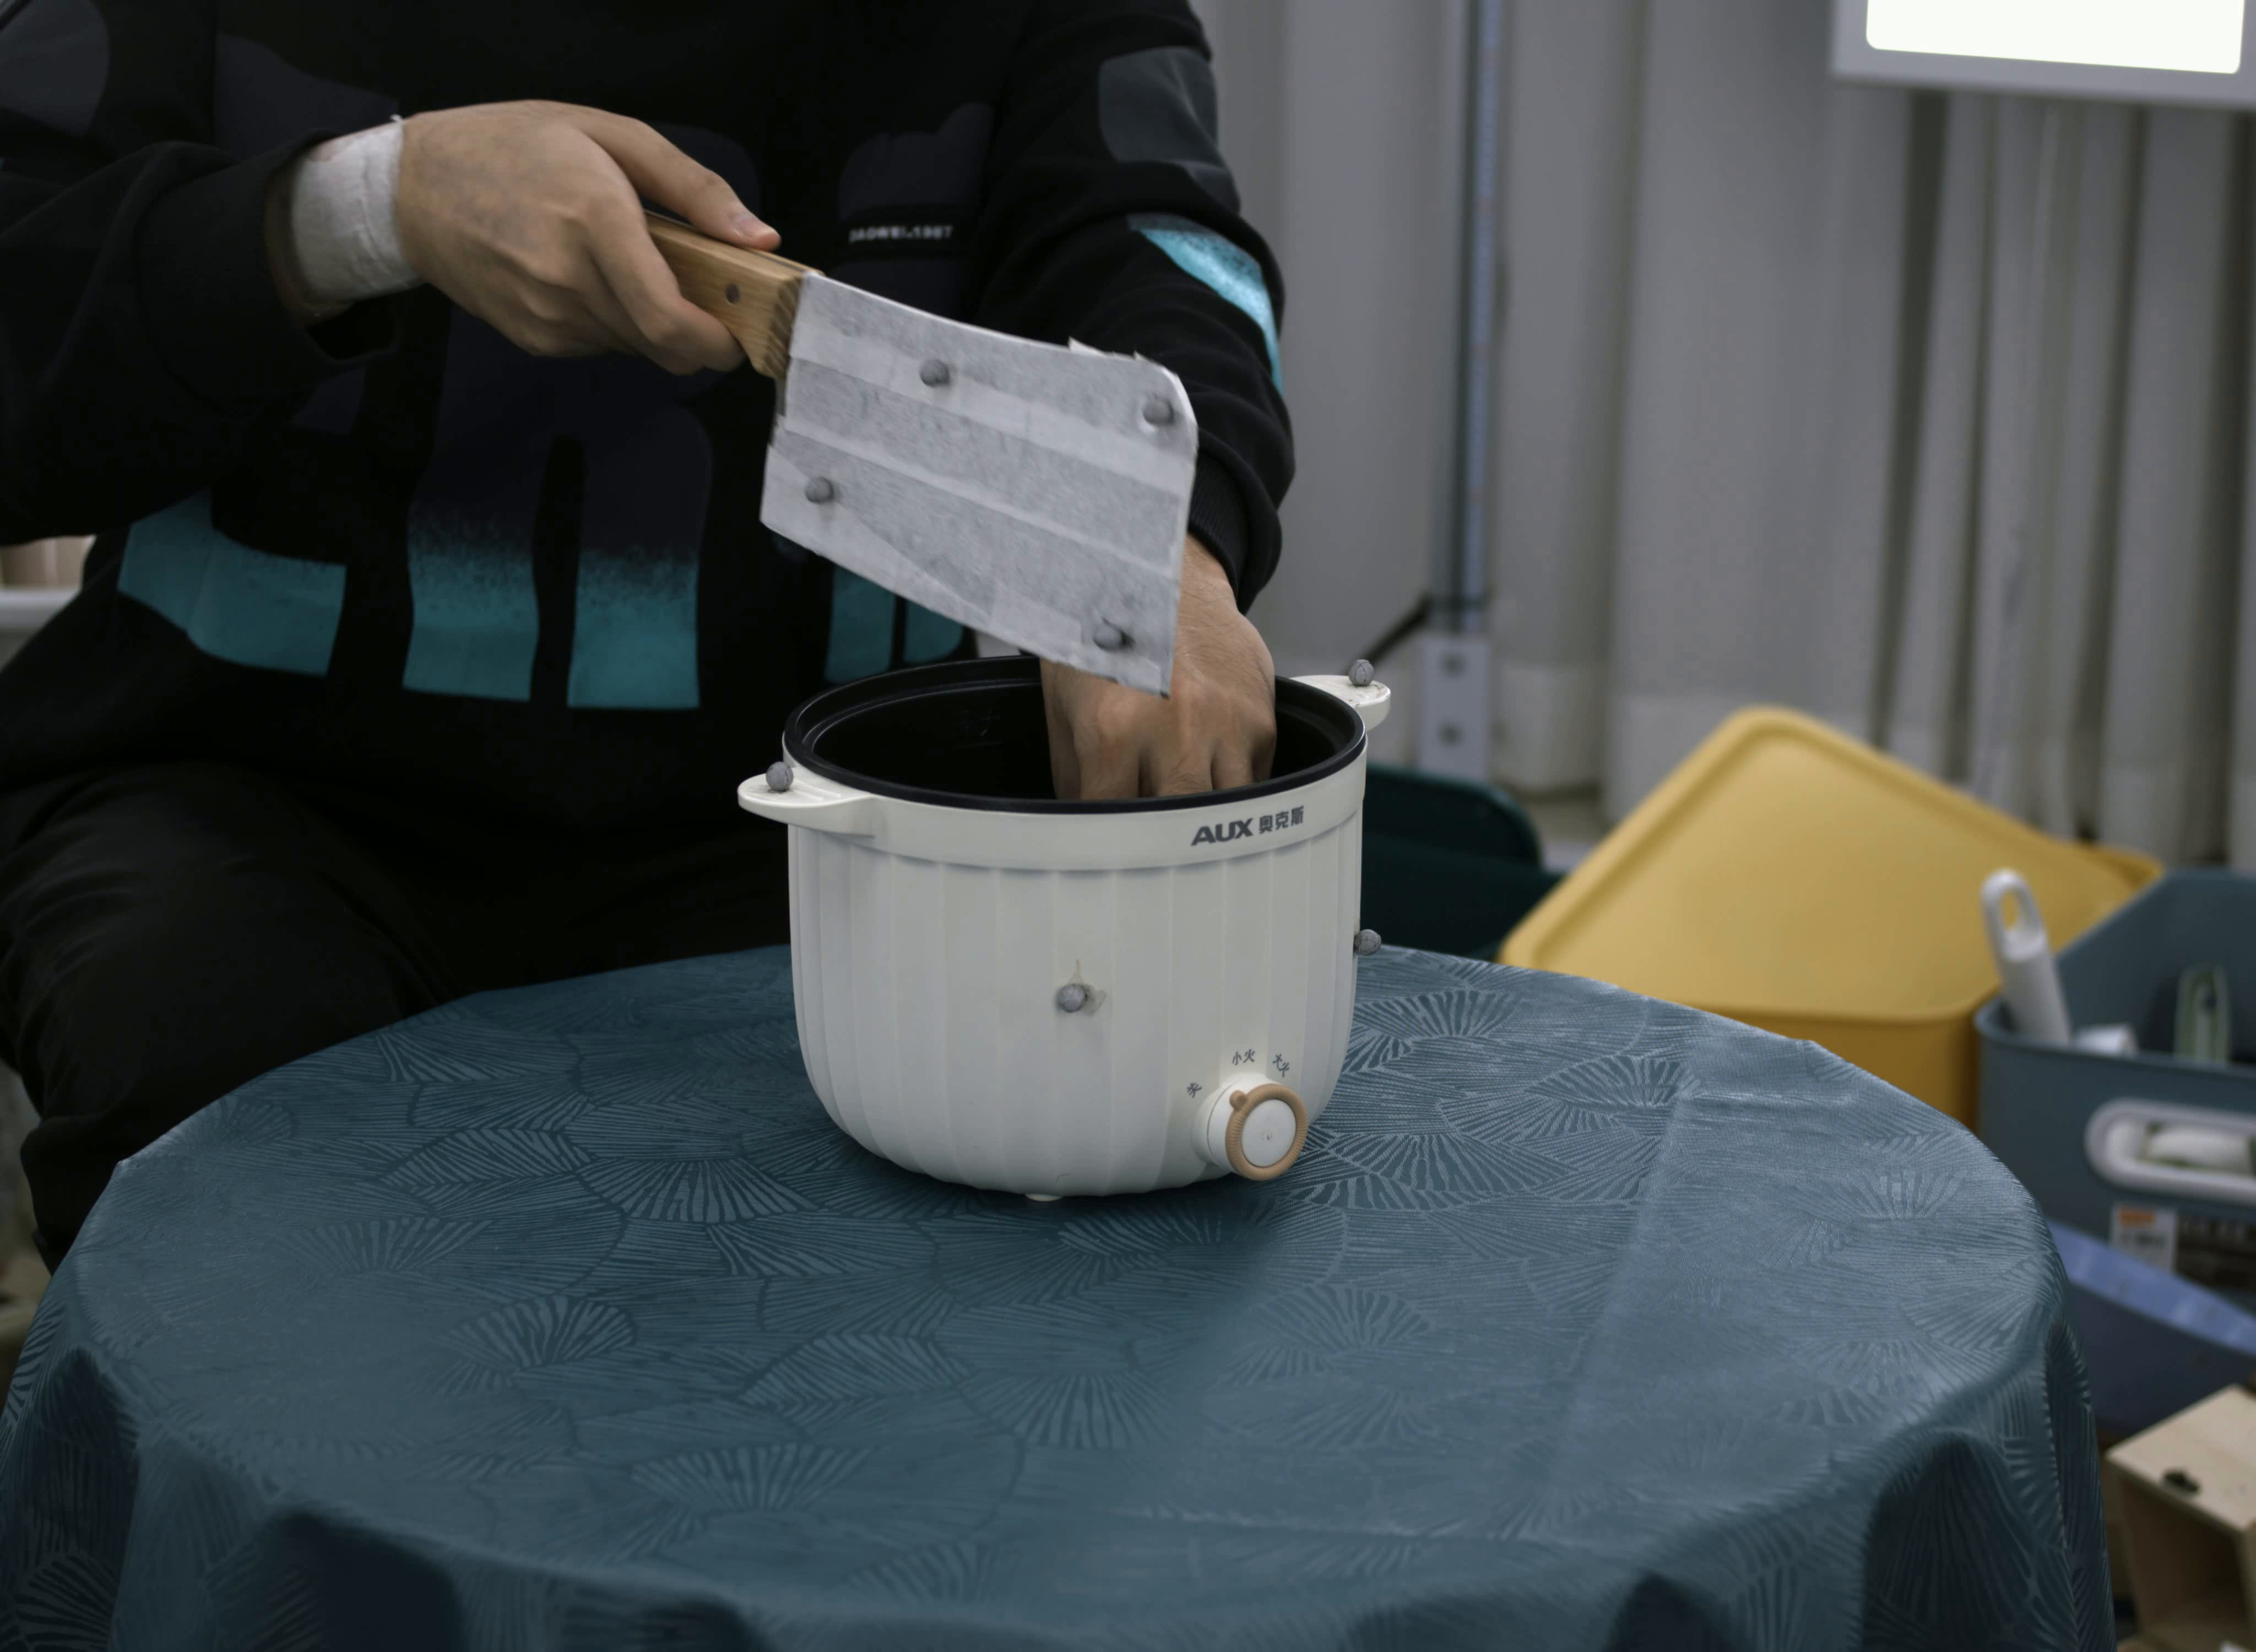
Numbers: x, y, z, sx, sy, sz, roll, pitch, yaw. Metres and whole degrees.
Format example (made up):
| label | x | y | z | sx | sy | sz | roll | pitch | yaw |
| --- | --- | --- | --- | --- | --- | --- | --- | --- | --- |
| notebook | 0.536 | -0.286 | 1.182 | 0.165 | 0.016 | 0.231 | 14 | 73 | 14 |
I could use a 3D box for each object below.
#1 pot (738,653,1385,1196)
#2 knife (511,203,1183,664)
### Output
| label | x | y | z | sx | sy | sz | roll | pitch | yaw |
| --- | --- | --- | --- | --- | --- | --- | --- | --- | --- |
| pot | -0.012 | 0.032 | 1.648 | 0.241 | 0.144 | 0.188 | -12 | 17 | -35 |
| knife | -0.091 | -0.140 | 1.662 | 0.311 | 0.115 | 0.022 | 28 | 25 | 37 |
